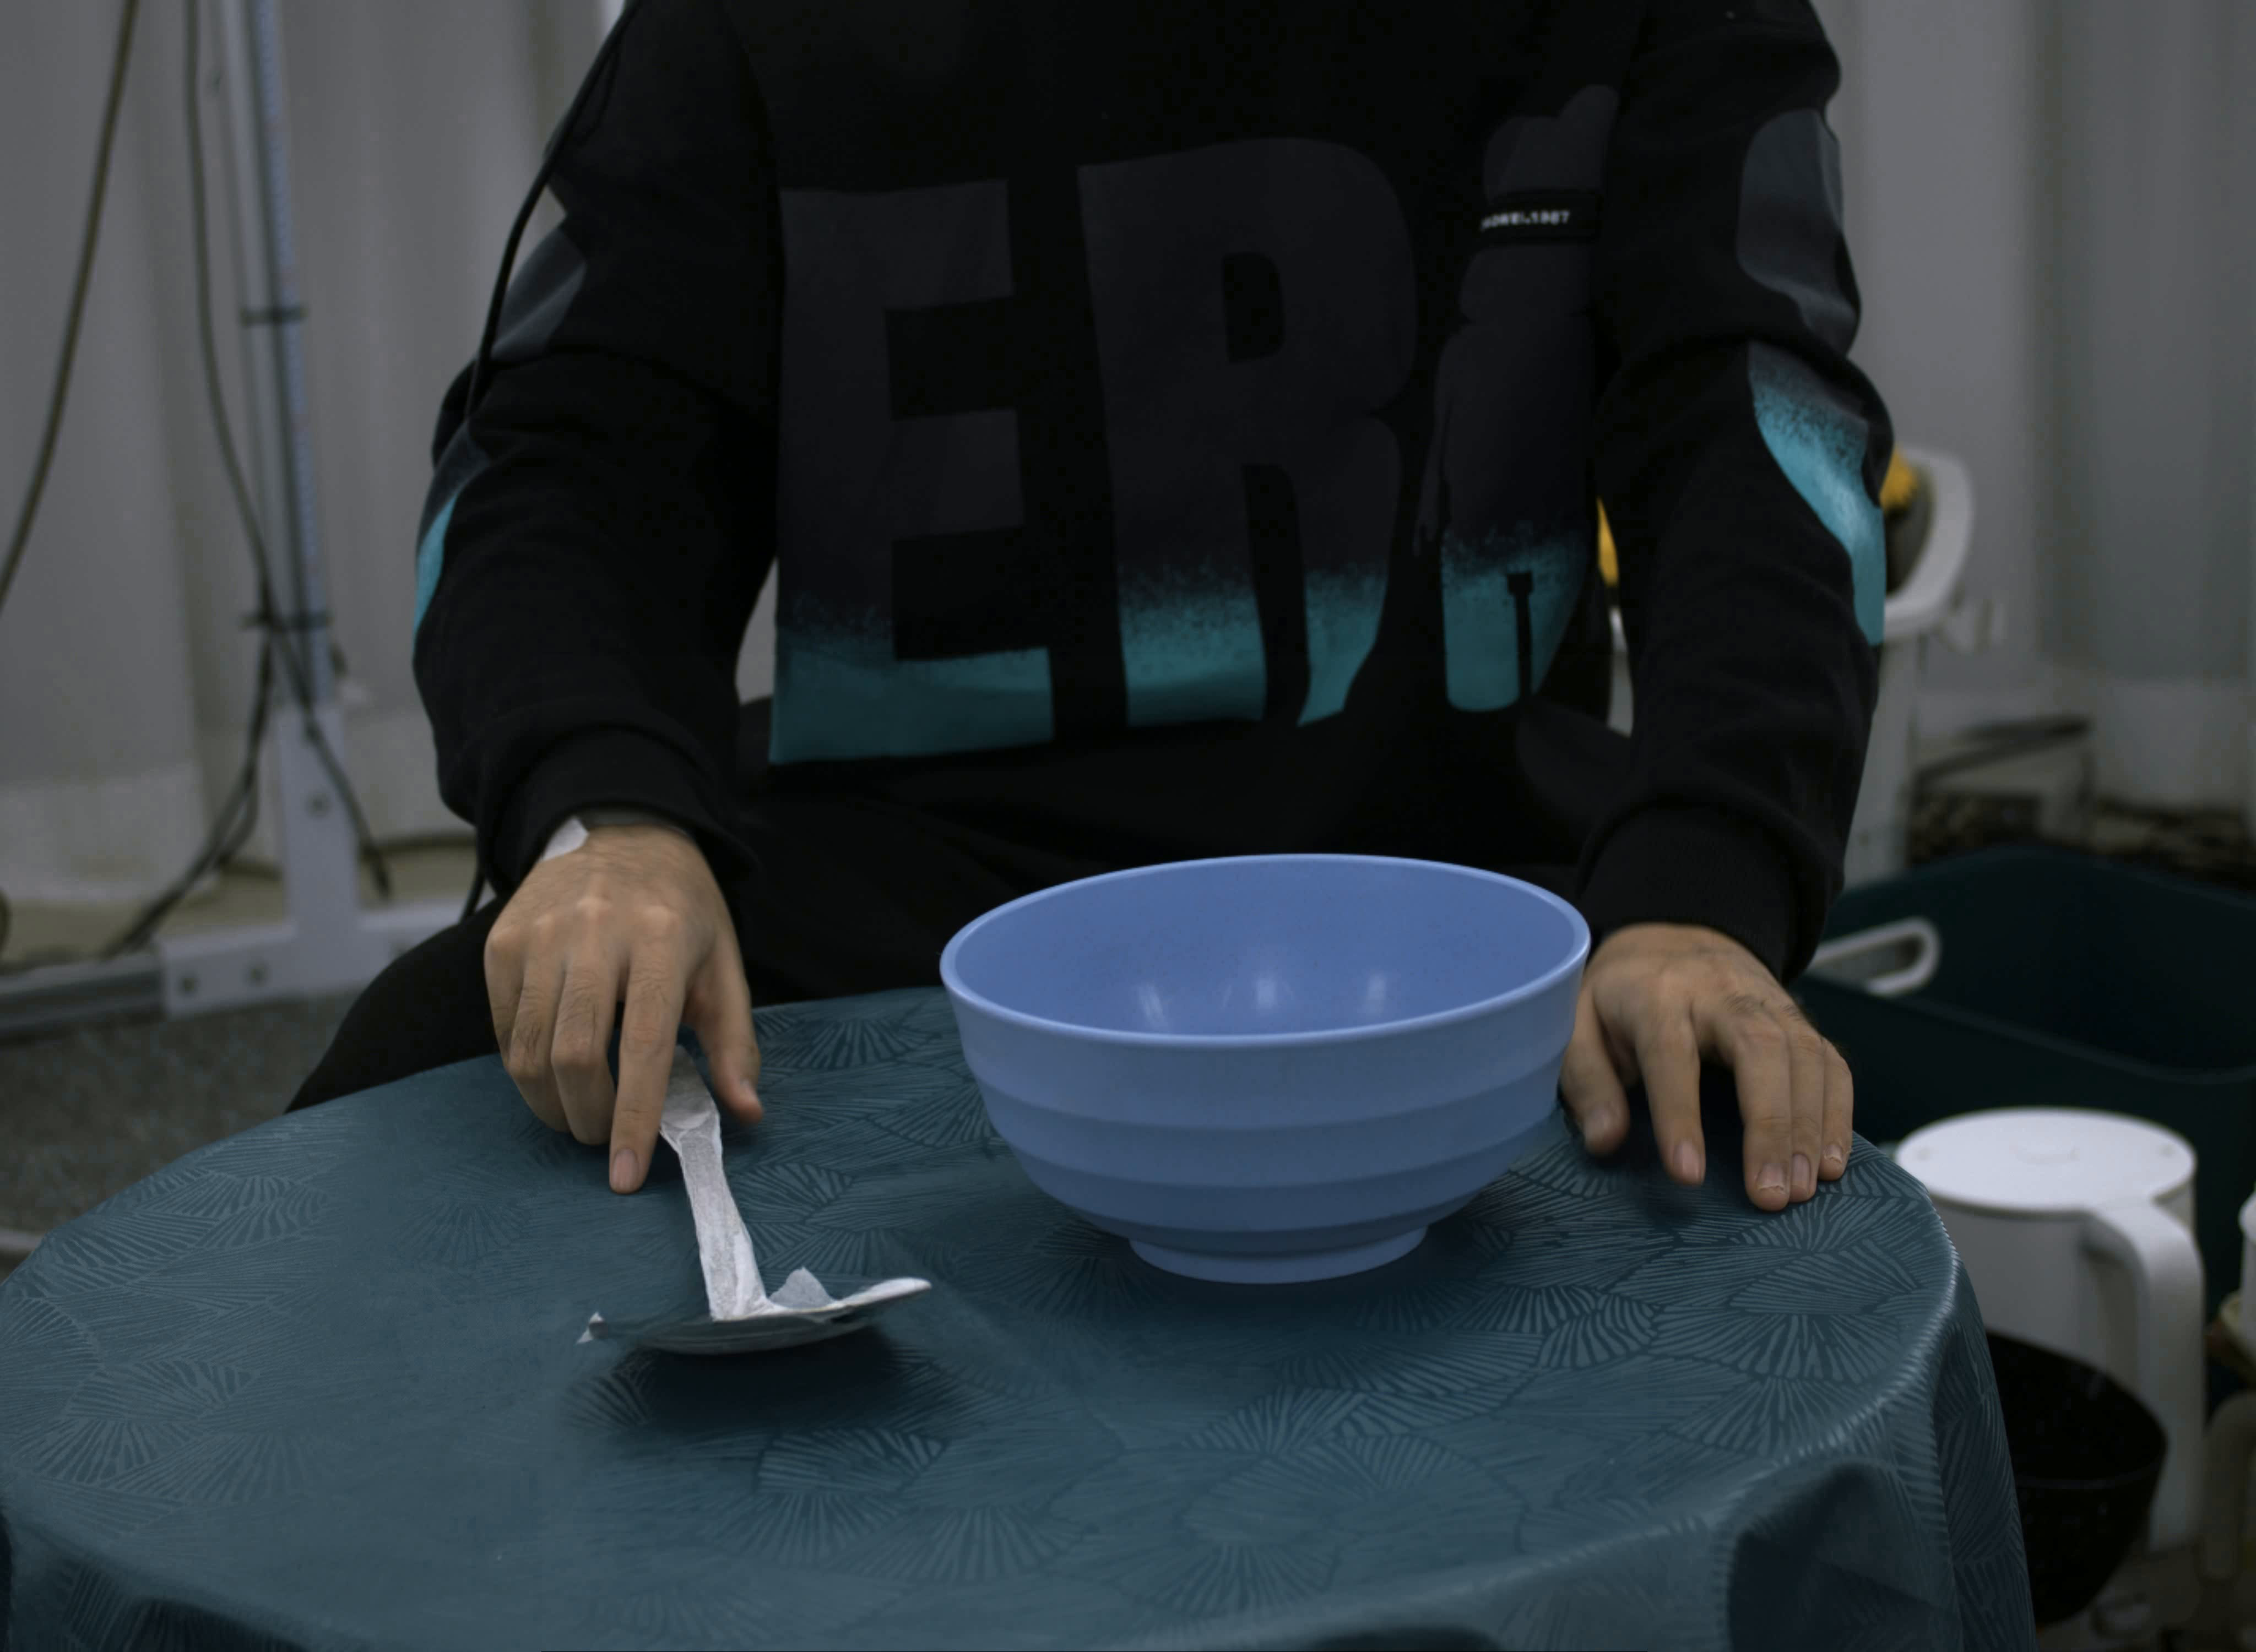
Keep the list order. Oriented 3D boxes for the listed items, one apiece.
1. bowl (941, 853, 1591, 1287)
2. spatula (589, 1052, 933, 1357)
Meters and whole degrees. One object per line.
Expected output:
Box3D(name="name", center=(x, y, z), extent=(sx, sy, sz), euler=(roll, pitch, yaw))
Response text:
Box3D(name="bowl", center=(0.044, 0.080, 1.656), extent=(0.196, 0.095, 0.198), euler=(-4, 15, 1))
Box3D(name="spatula", center=(-0.126, 0.108, 1.691), extent=(0.098, 0.044, 0.368), euler=(-7, 16, -7))
